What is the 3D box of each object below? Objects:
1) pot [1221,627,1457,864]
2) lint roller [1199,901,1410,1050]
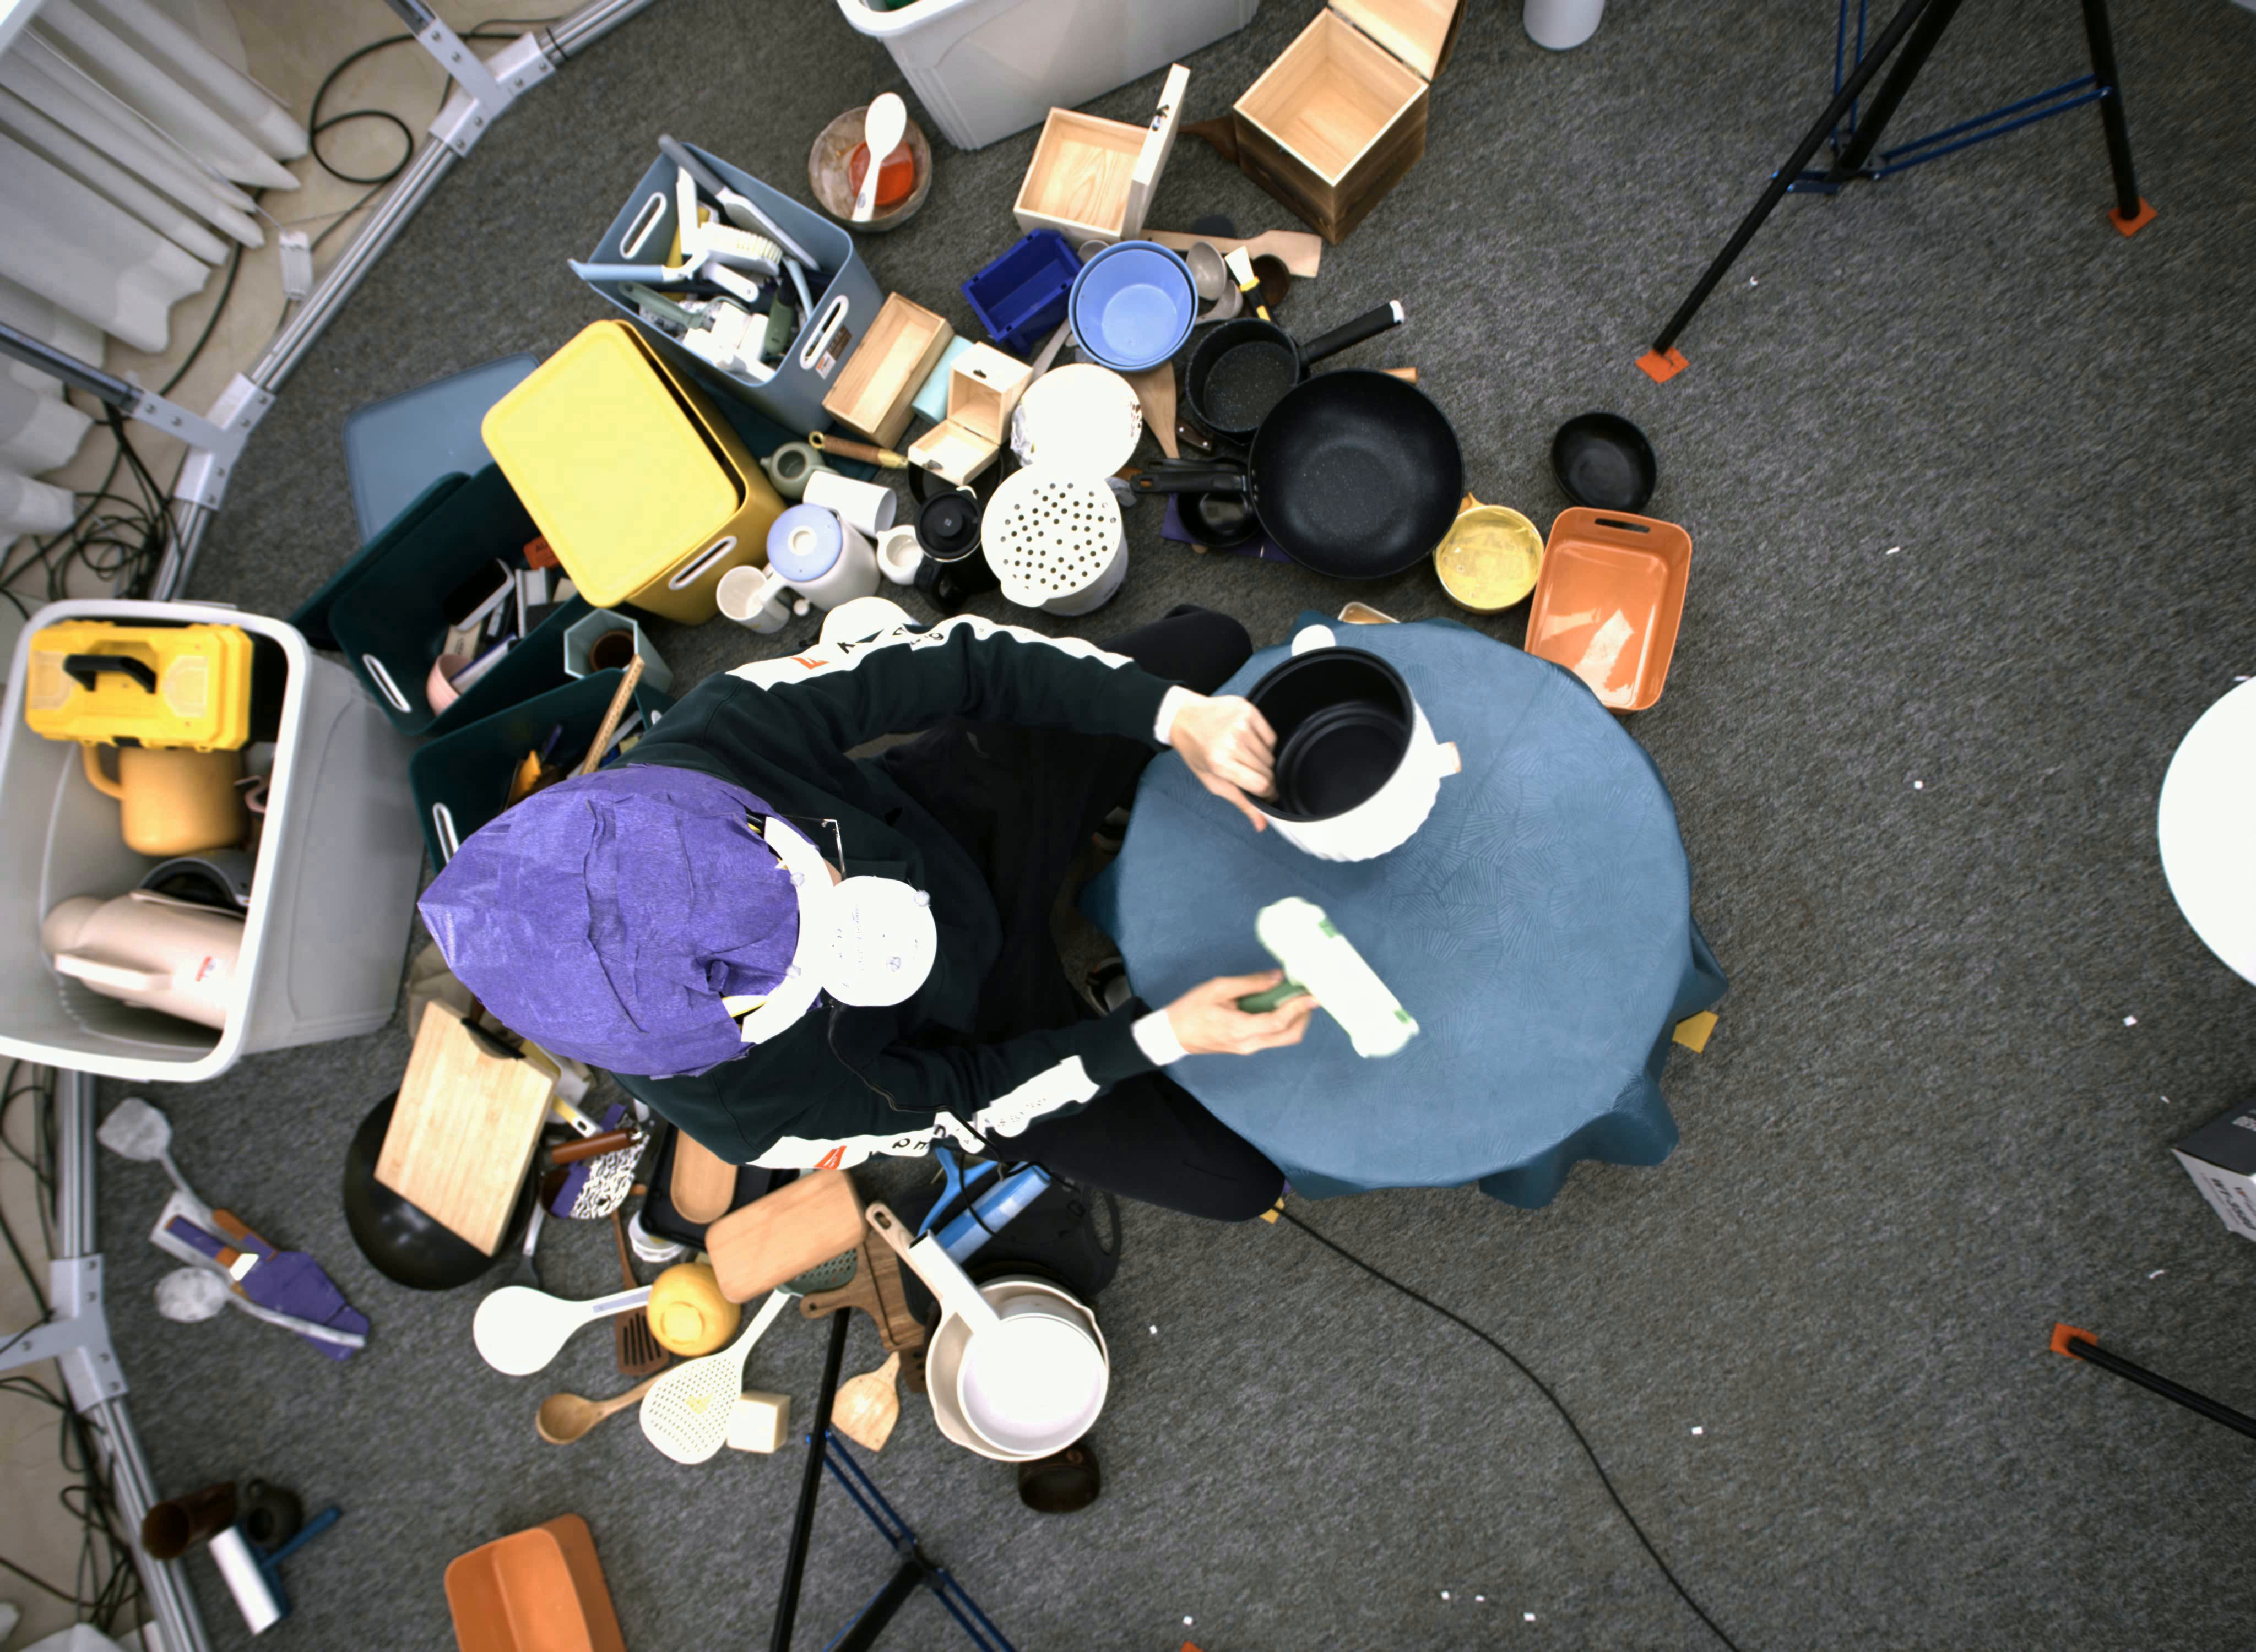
[{"bbox_3d":[0.203,-0.062,1.306,0.193,0.144,0.235,-16,60,28],"label":"pot"},{"bbox_3d":[0.146,0.171,1.330,0.186,0.201,0.080,-30,38,25],"label":"lint roller"}]
